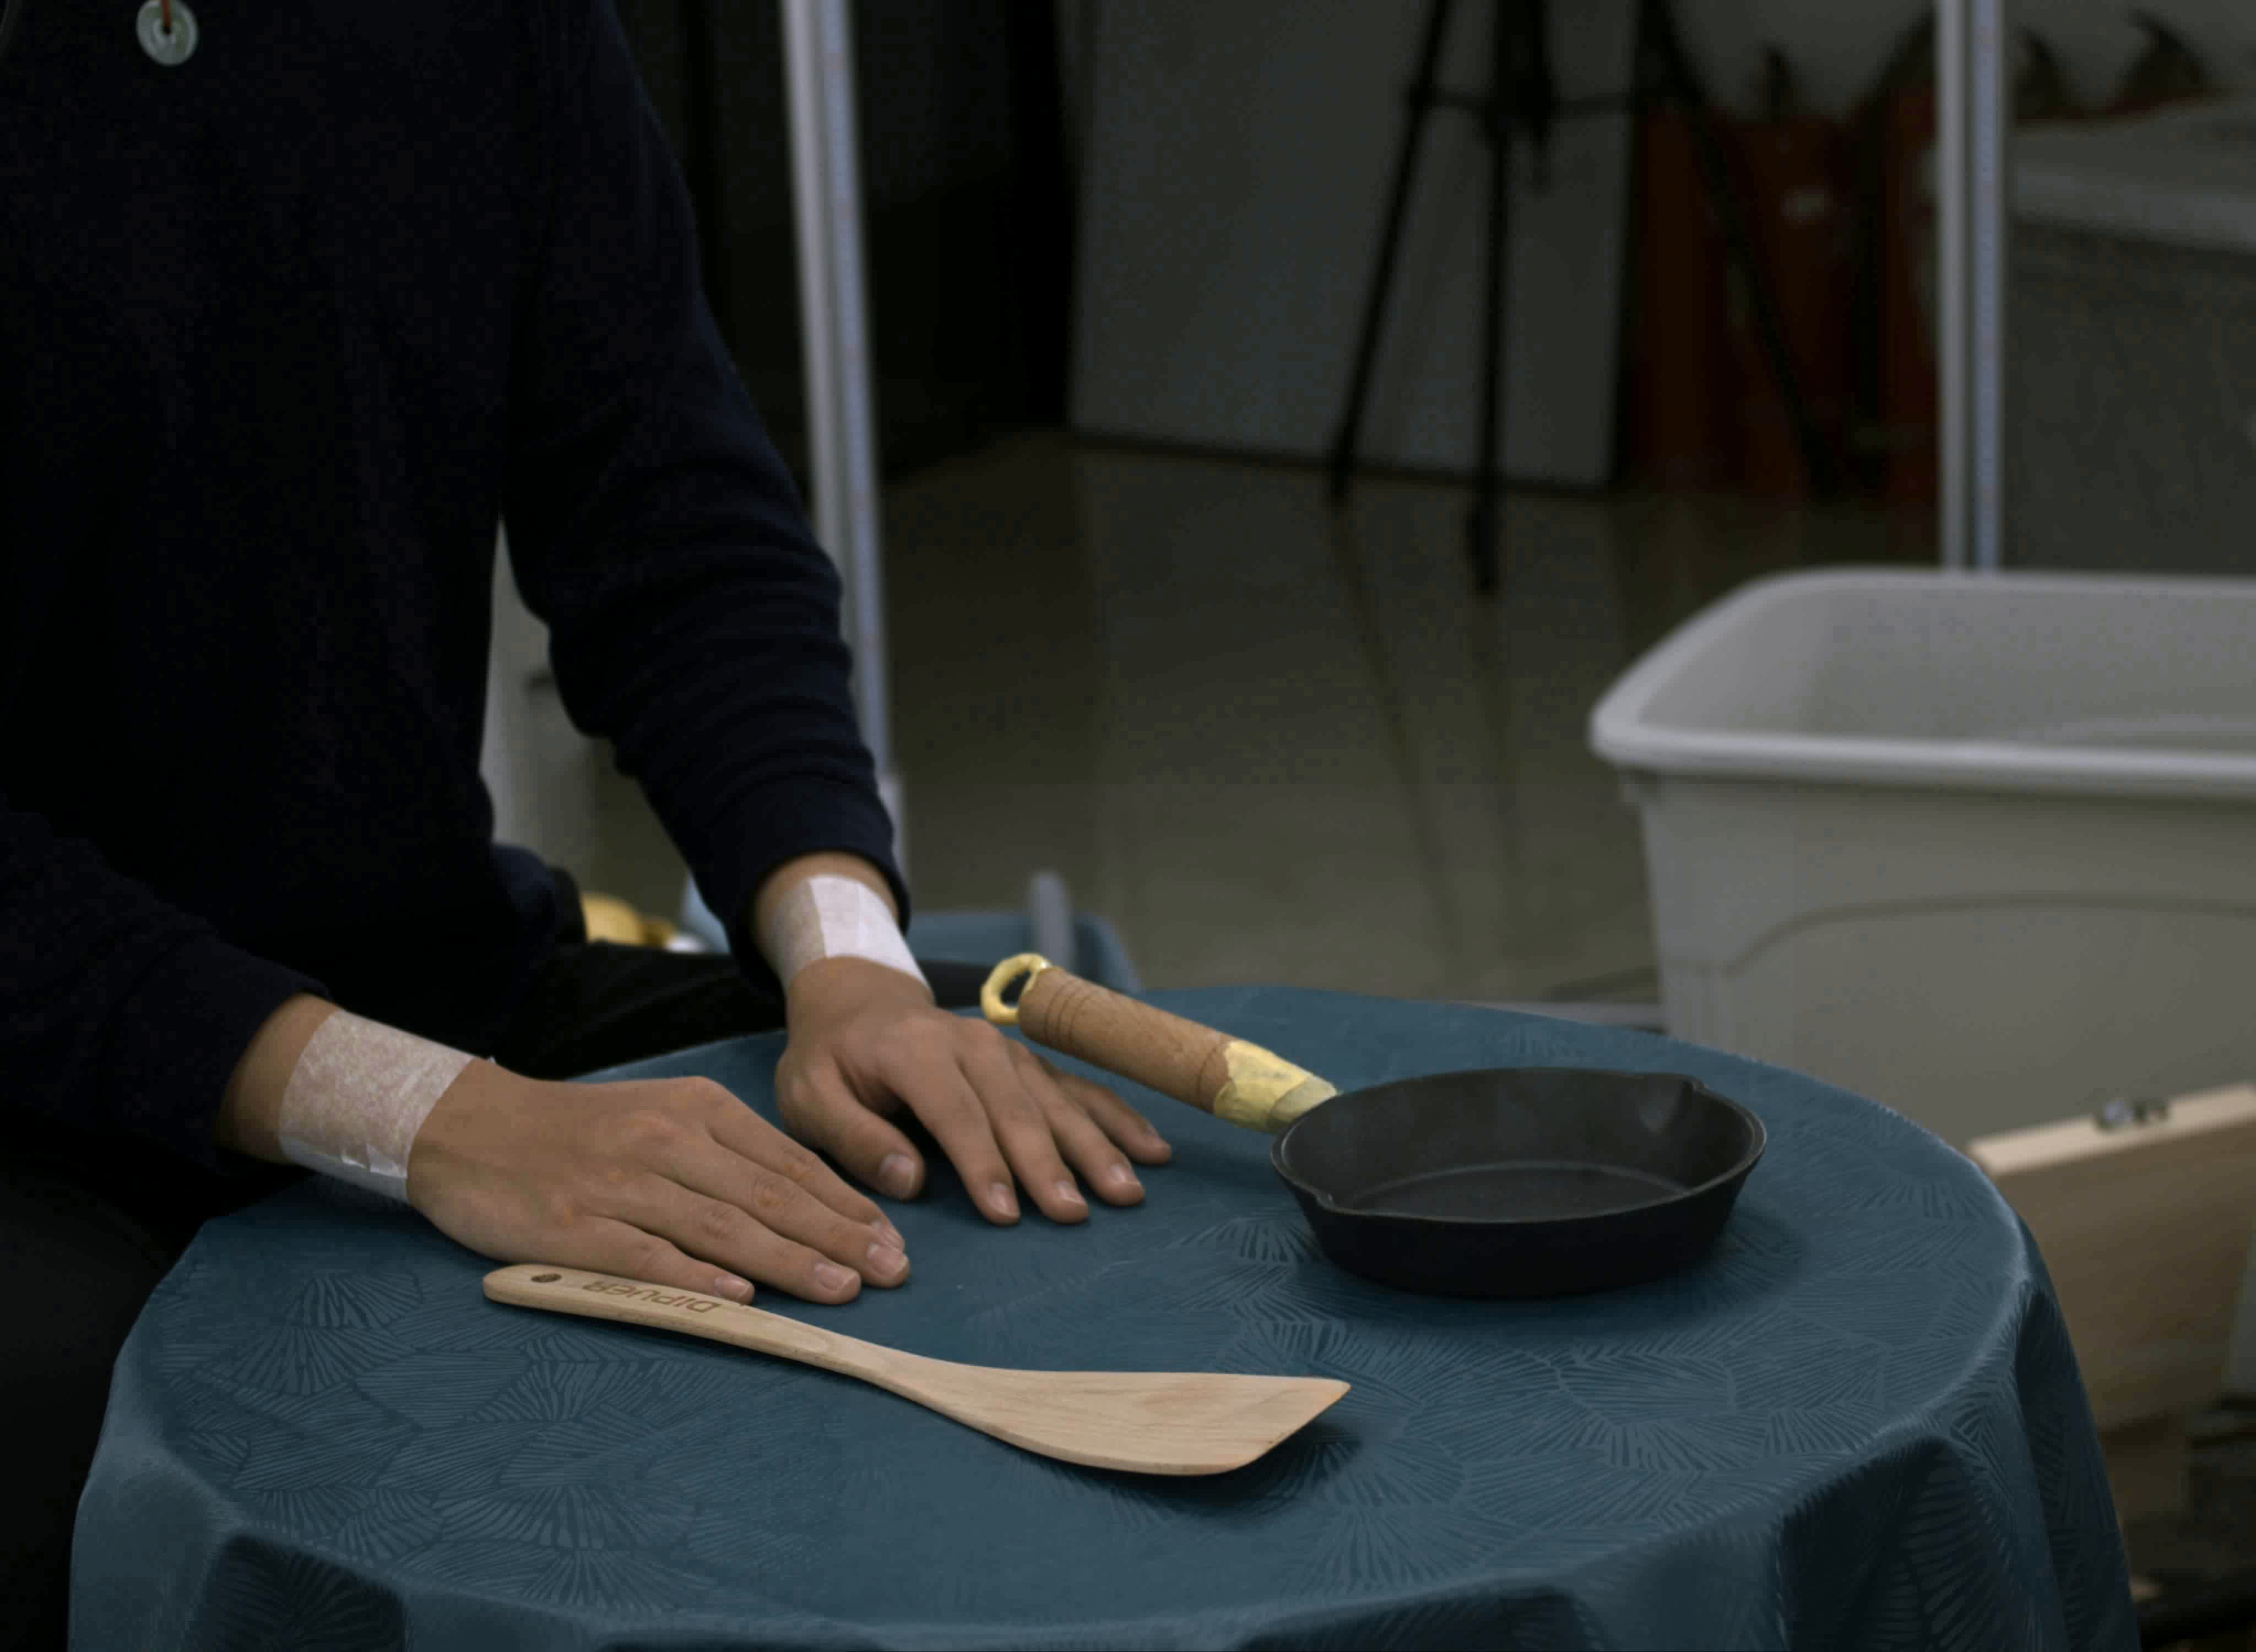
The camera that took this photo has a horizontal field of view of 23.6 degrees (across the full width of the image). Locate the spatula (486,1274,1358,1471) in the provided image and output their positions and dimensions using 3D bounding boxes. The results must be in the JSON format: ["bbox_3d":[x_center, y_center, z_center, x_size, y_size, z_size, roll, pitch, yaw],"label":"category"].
[{"bbox_3d":[-0.071,0.158,1.610,0.330,0.017,0.078,7,17,39],"label":"spatula"}]

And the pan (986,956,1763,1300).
[{"bbox_3d":[0.066,0.093,1.757,0.165,0.050,0.327,-16,19,-39],"label":"pan"}]
